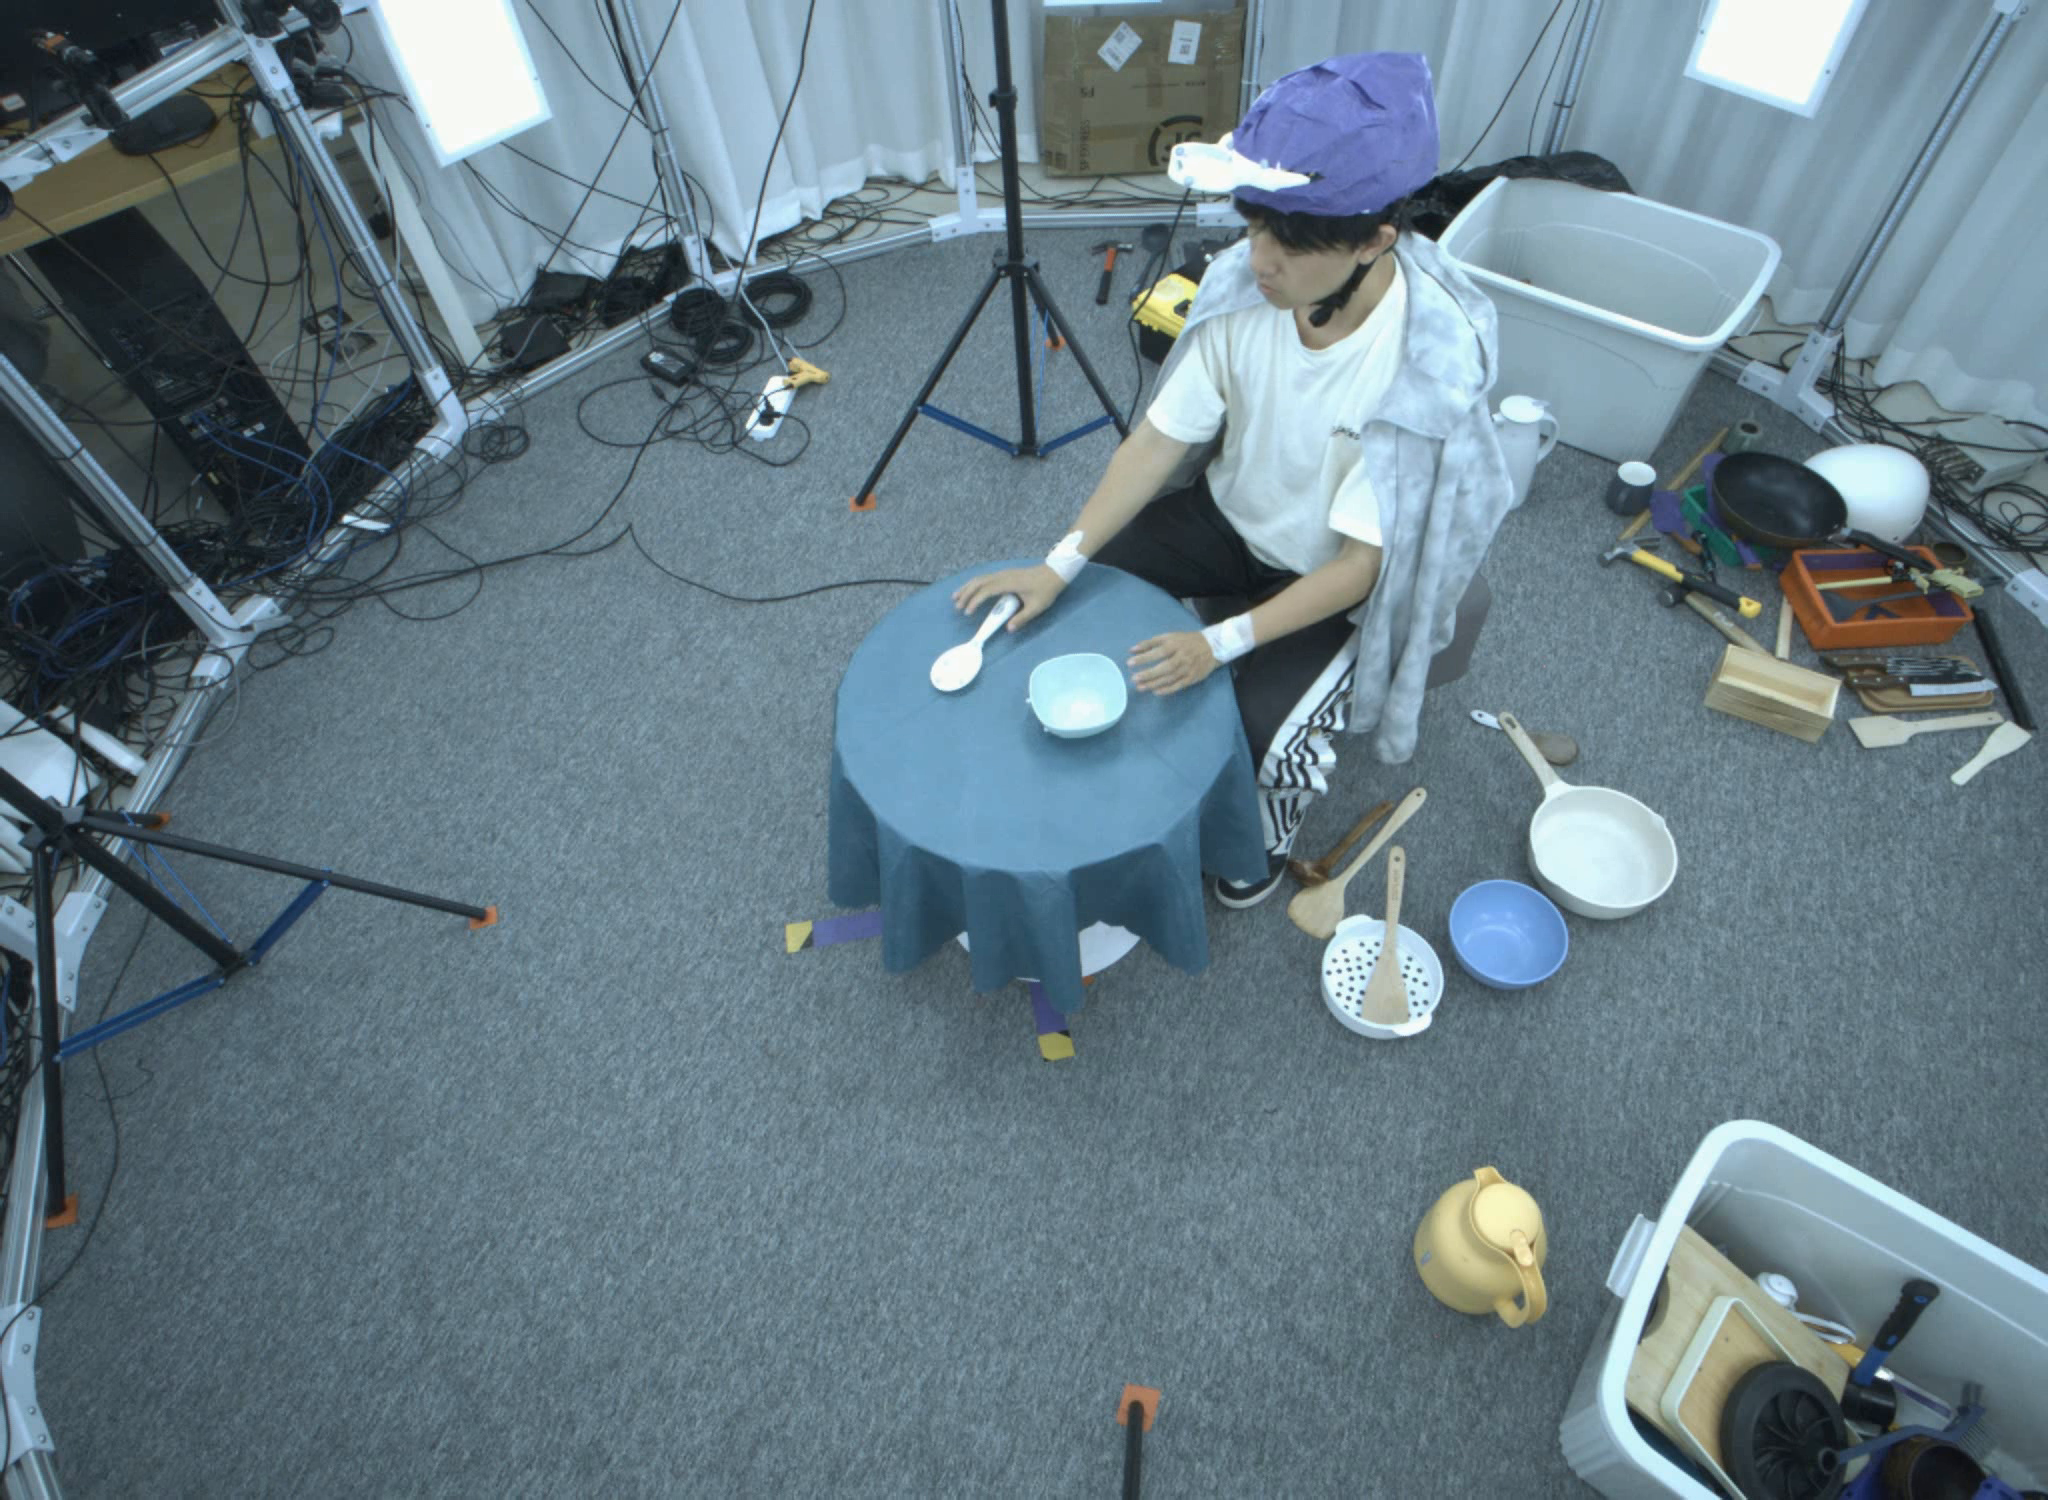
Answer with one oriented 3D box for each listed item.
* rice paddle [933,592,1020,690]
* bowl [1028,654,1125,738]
[{"bbox_3d":[-0.071,-0.166,1.891,0.068,0.030,0.206,24,59,20],"label":"rice paddle"},{"bbox_3d":[0.079,-0.070,1.799,0.151,0.059,0.150,-3,53,5],"label":"bowl"}]
